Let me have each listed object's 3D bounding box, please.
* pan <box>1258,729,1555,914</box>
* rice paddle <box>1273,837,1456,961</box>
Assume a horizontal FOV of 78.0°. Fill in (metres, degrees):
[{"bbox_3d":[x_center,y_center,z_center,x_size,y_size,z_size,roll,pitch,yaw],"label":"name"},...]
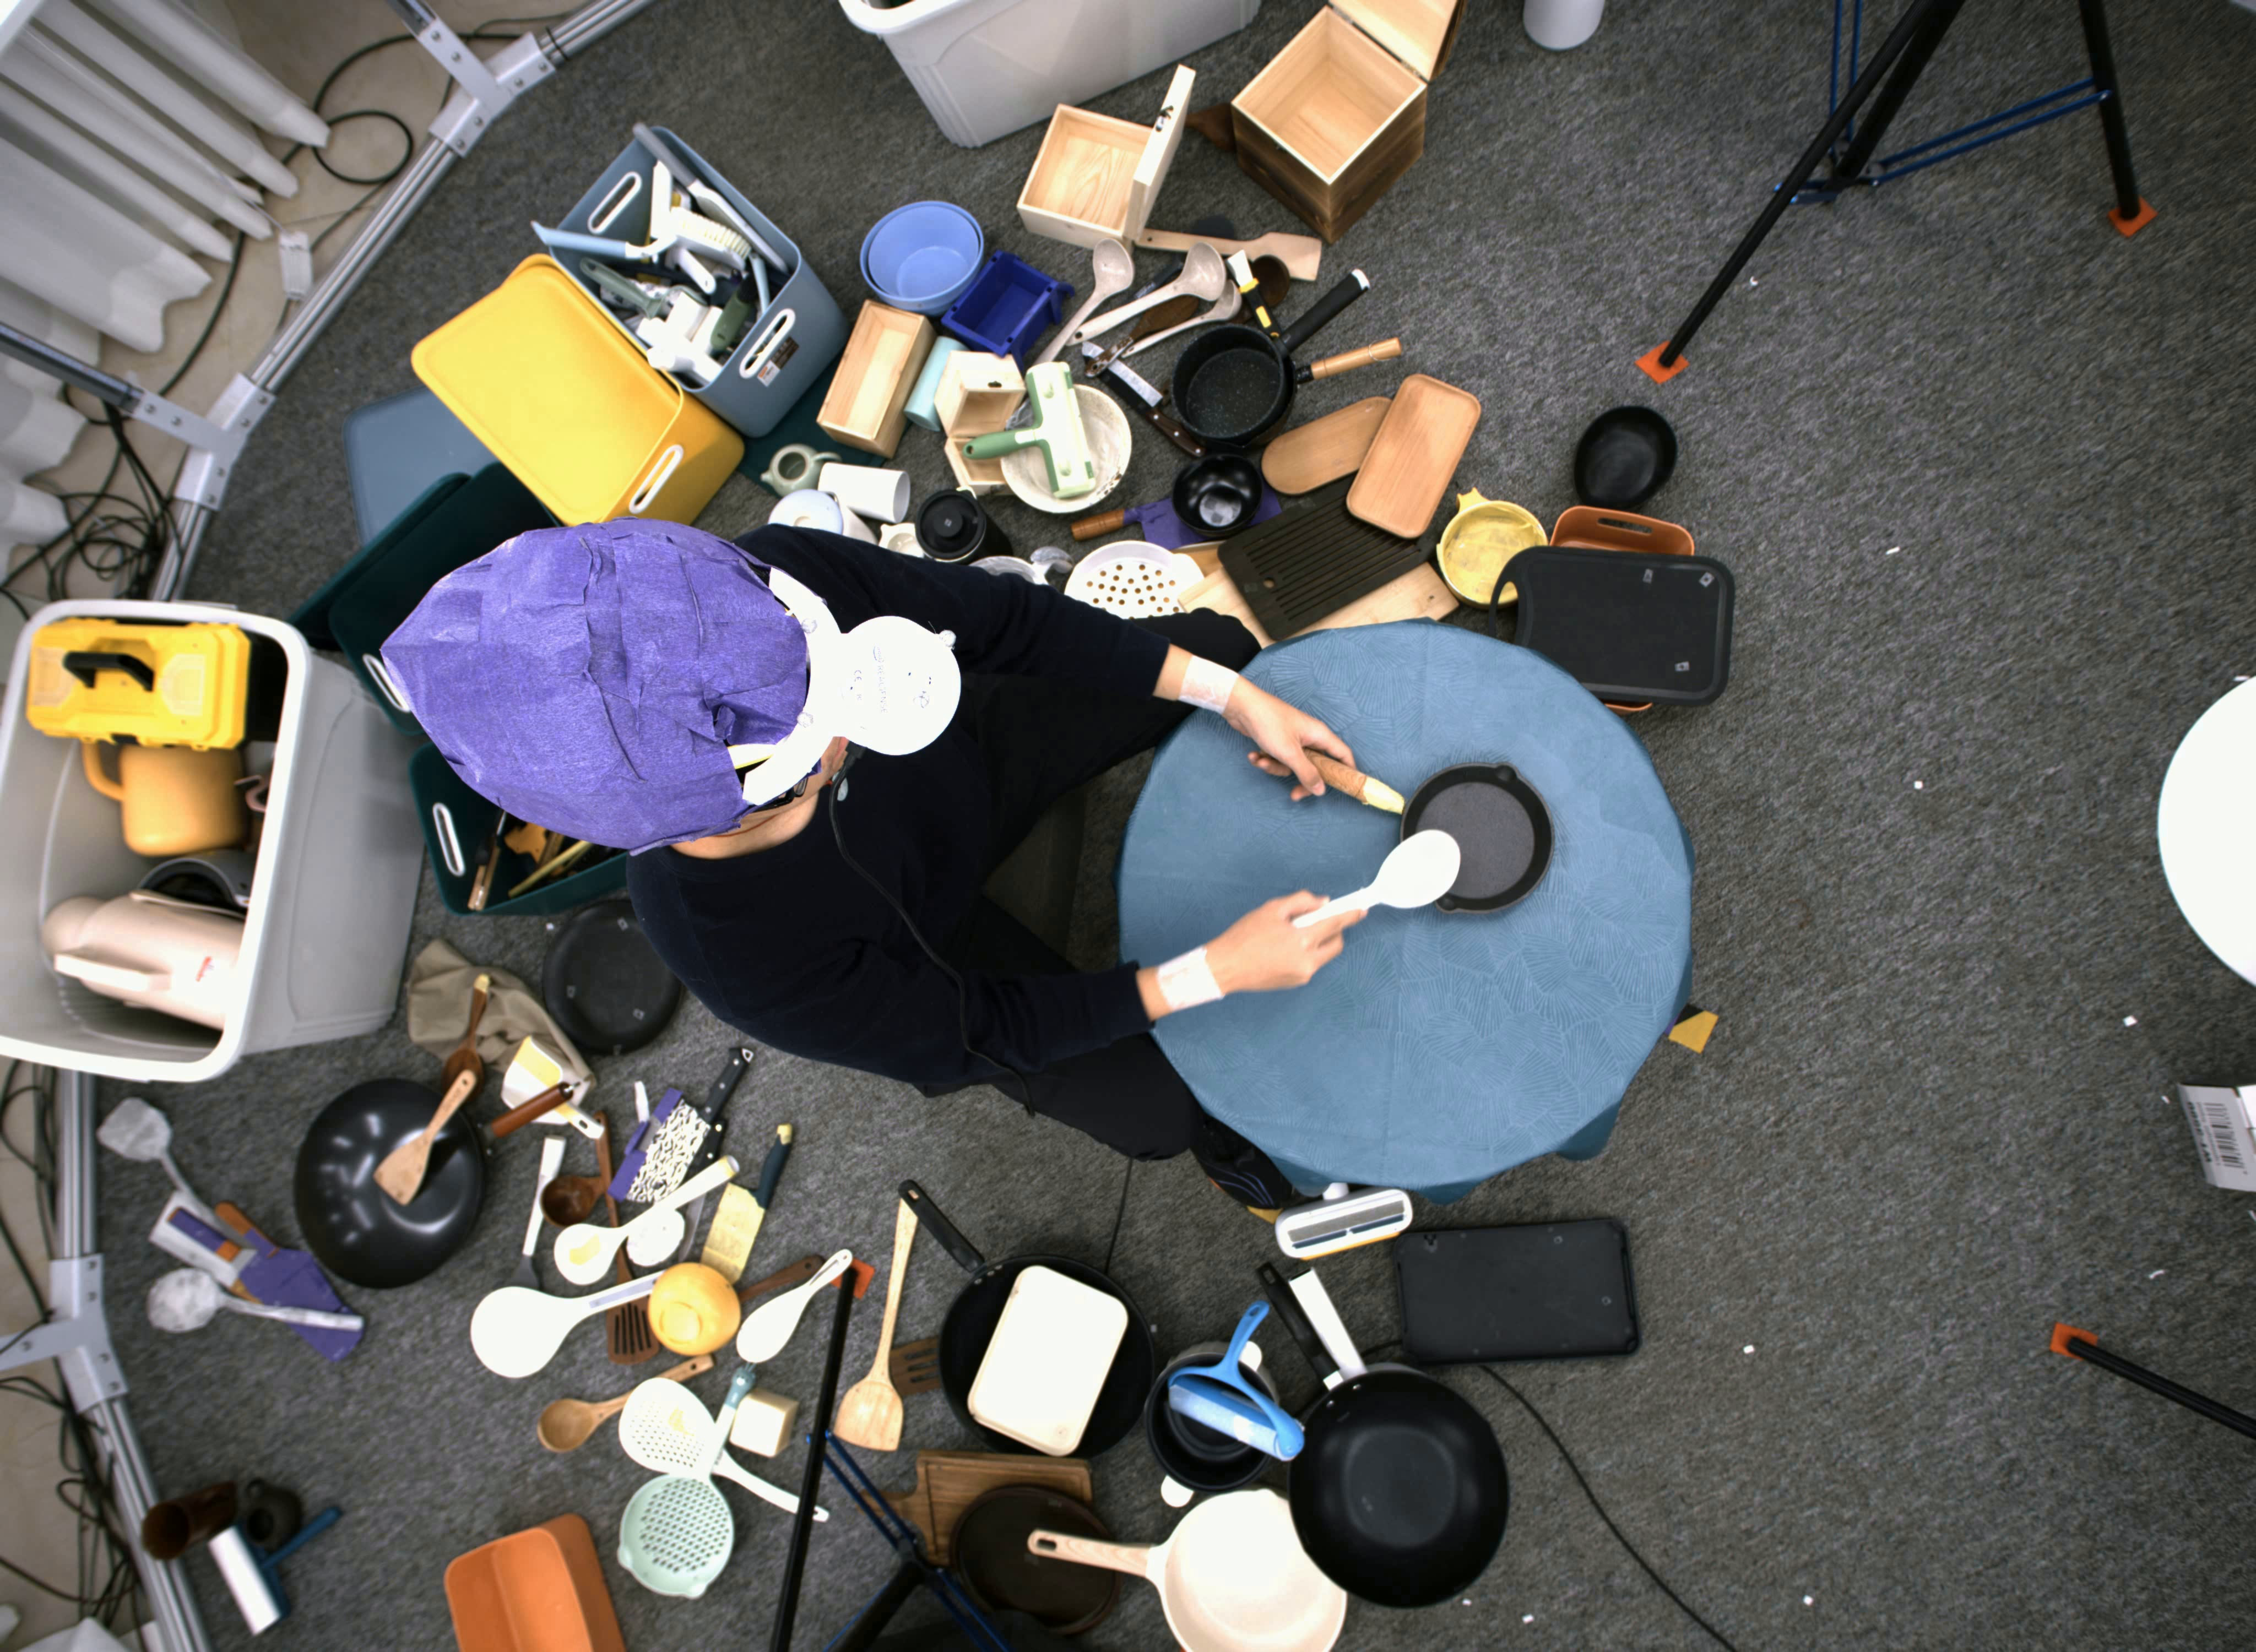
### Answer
[{"bbox_3d":[0.285,-0.026,1.437,0.324,0.049,0.169,27,92,9],"label":"pan"},{"bbox_3d":[0.240,0.072,1.371,0.204,0.029,0.069,-27,107,-8],"label":"rice paddle"}]
